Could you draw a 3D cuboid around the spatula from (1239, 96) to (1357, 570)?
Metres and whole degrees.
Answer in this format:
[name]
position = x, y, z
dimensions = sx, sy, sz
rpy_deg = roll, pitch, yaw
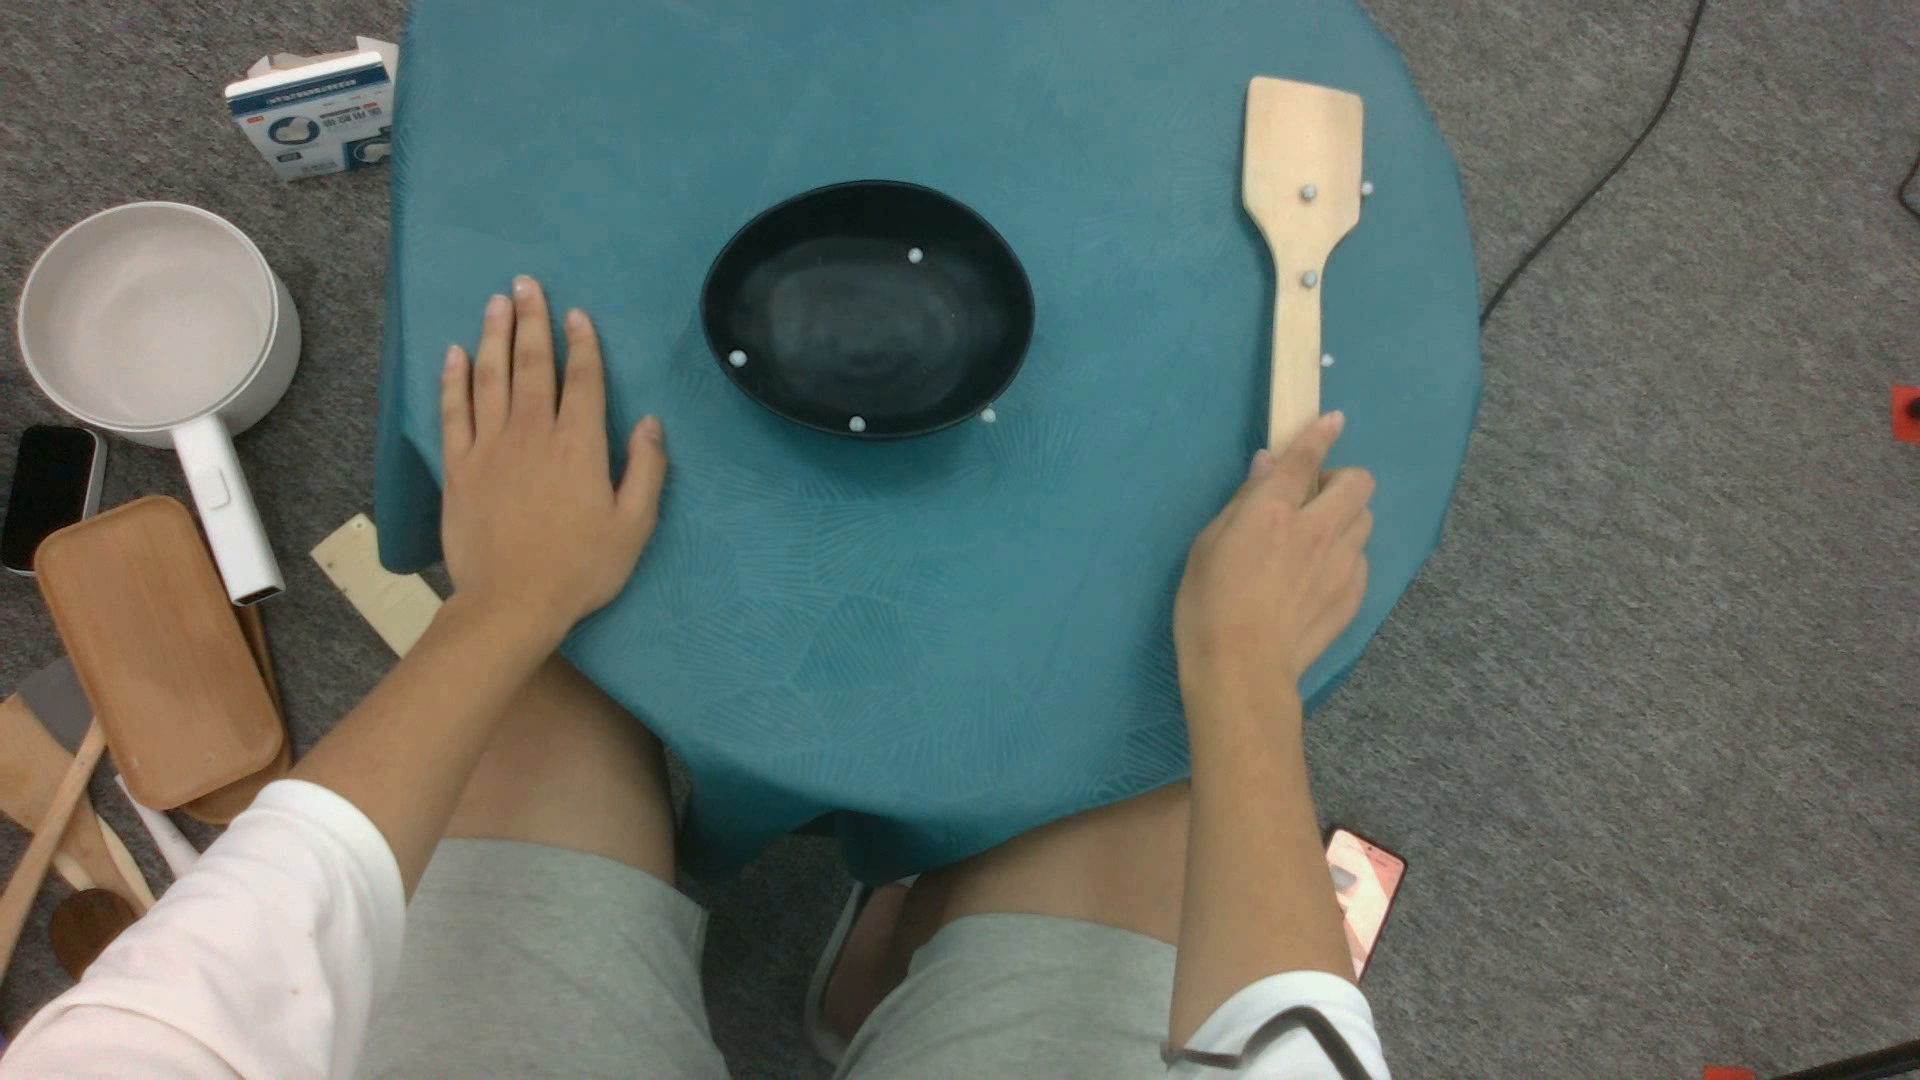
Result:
[spatula]
position = 0.191, -0.122, 0.778
dimensions = 0.072, 0.010, 0.294
rpy_deg = 7, 71, -6

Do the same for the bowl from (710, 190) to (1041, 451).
[bowl]
position = -0.045, -0.108, 0.730
dimensions = 0.170, 0.066, 0.137
rpy_deg = -3, 79, -6
